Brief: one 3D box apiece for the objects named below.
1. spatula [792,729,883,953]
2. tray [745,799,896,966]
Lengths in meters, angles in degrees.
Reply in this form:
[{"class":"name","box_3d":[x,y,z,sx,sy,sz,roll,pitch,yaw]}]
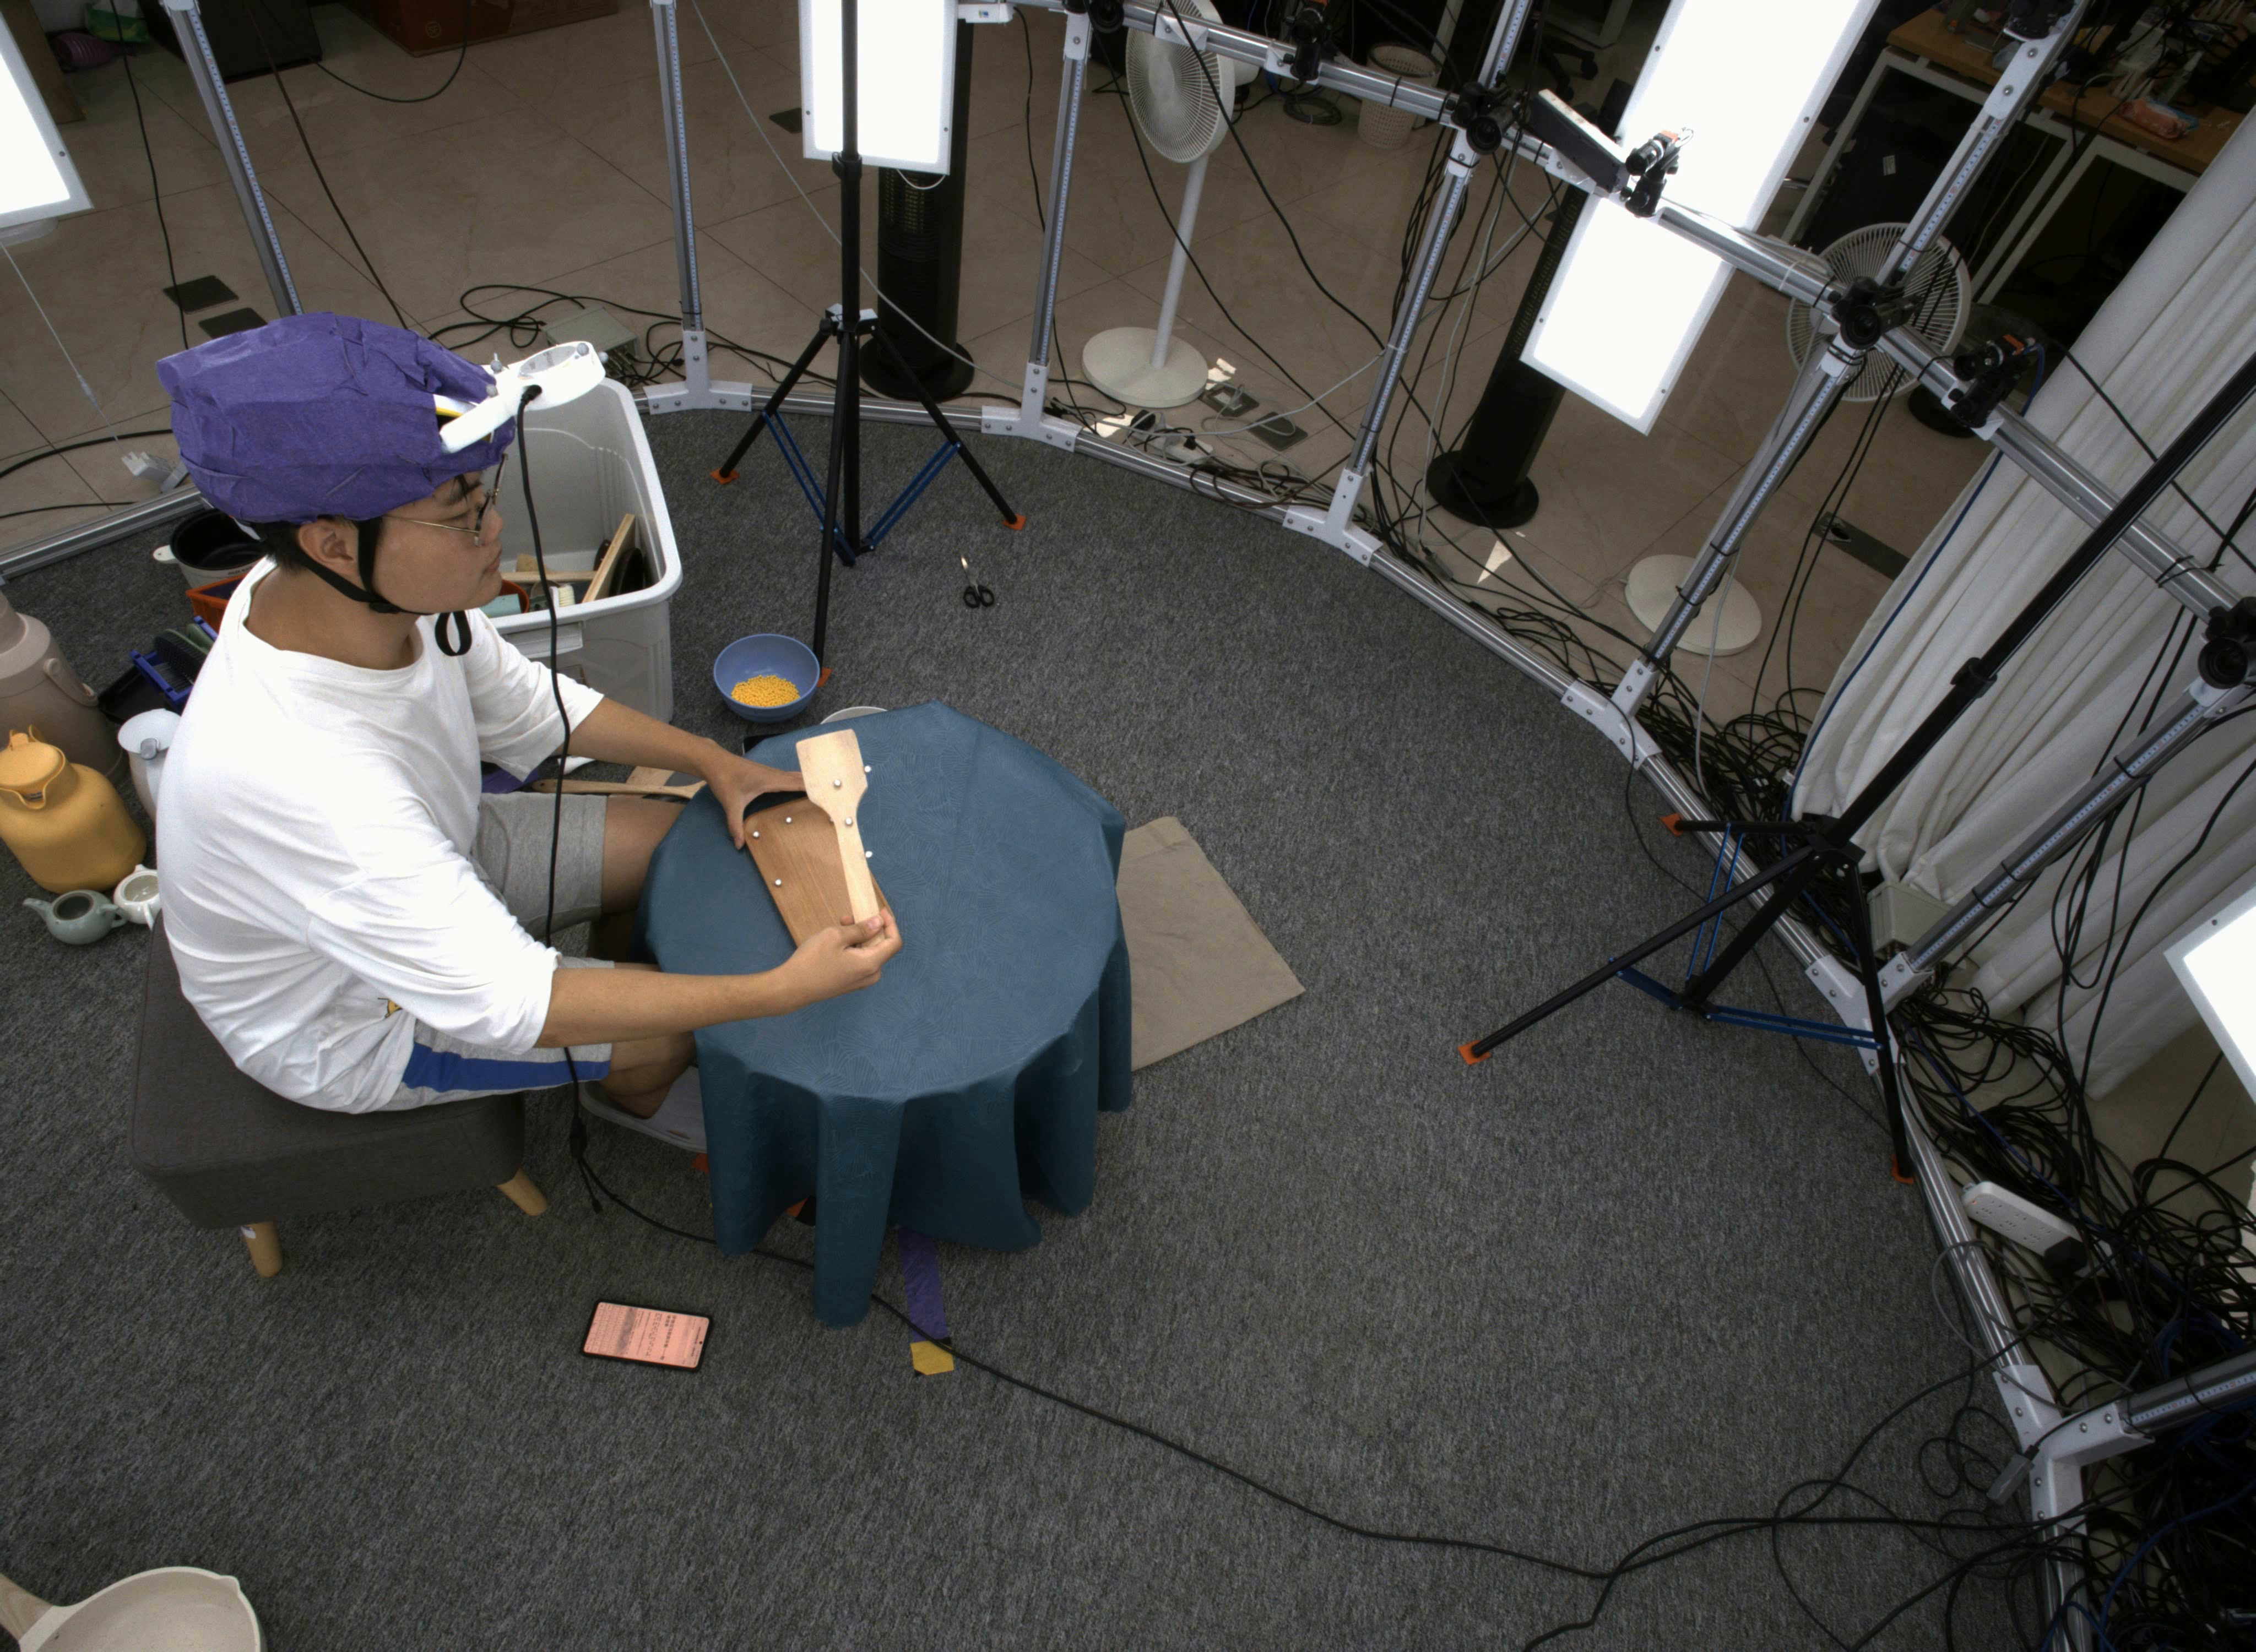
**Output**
[{"class":"spatula","box_3d":[-0.312,0.013,1.440,0.072,0.011,0.287,-14,61,-11]},{"class":"tray","box_3d":[-0.400,0.068,1.681,0.131,0.023,0.244,-20,62,-22]}]
